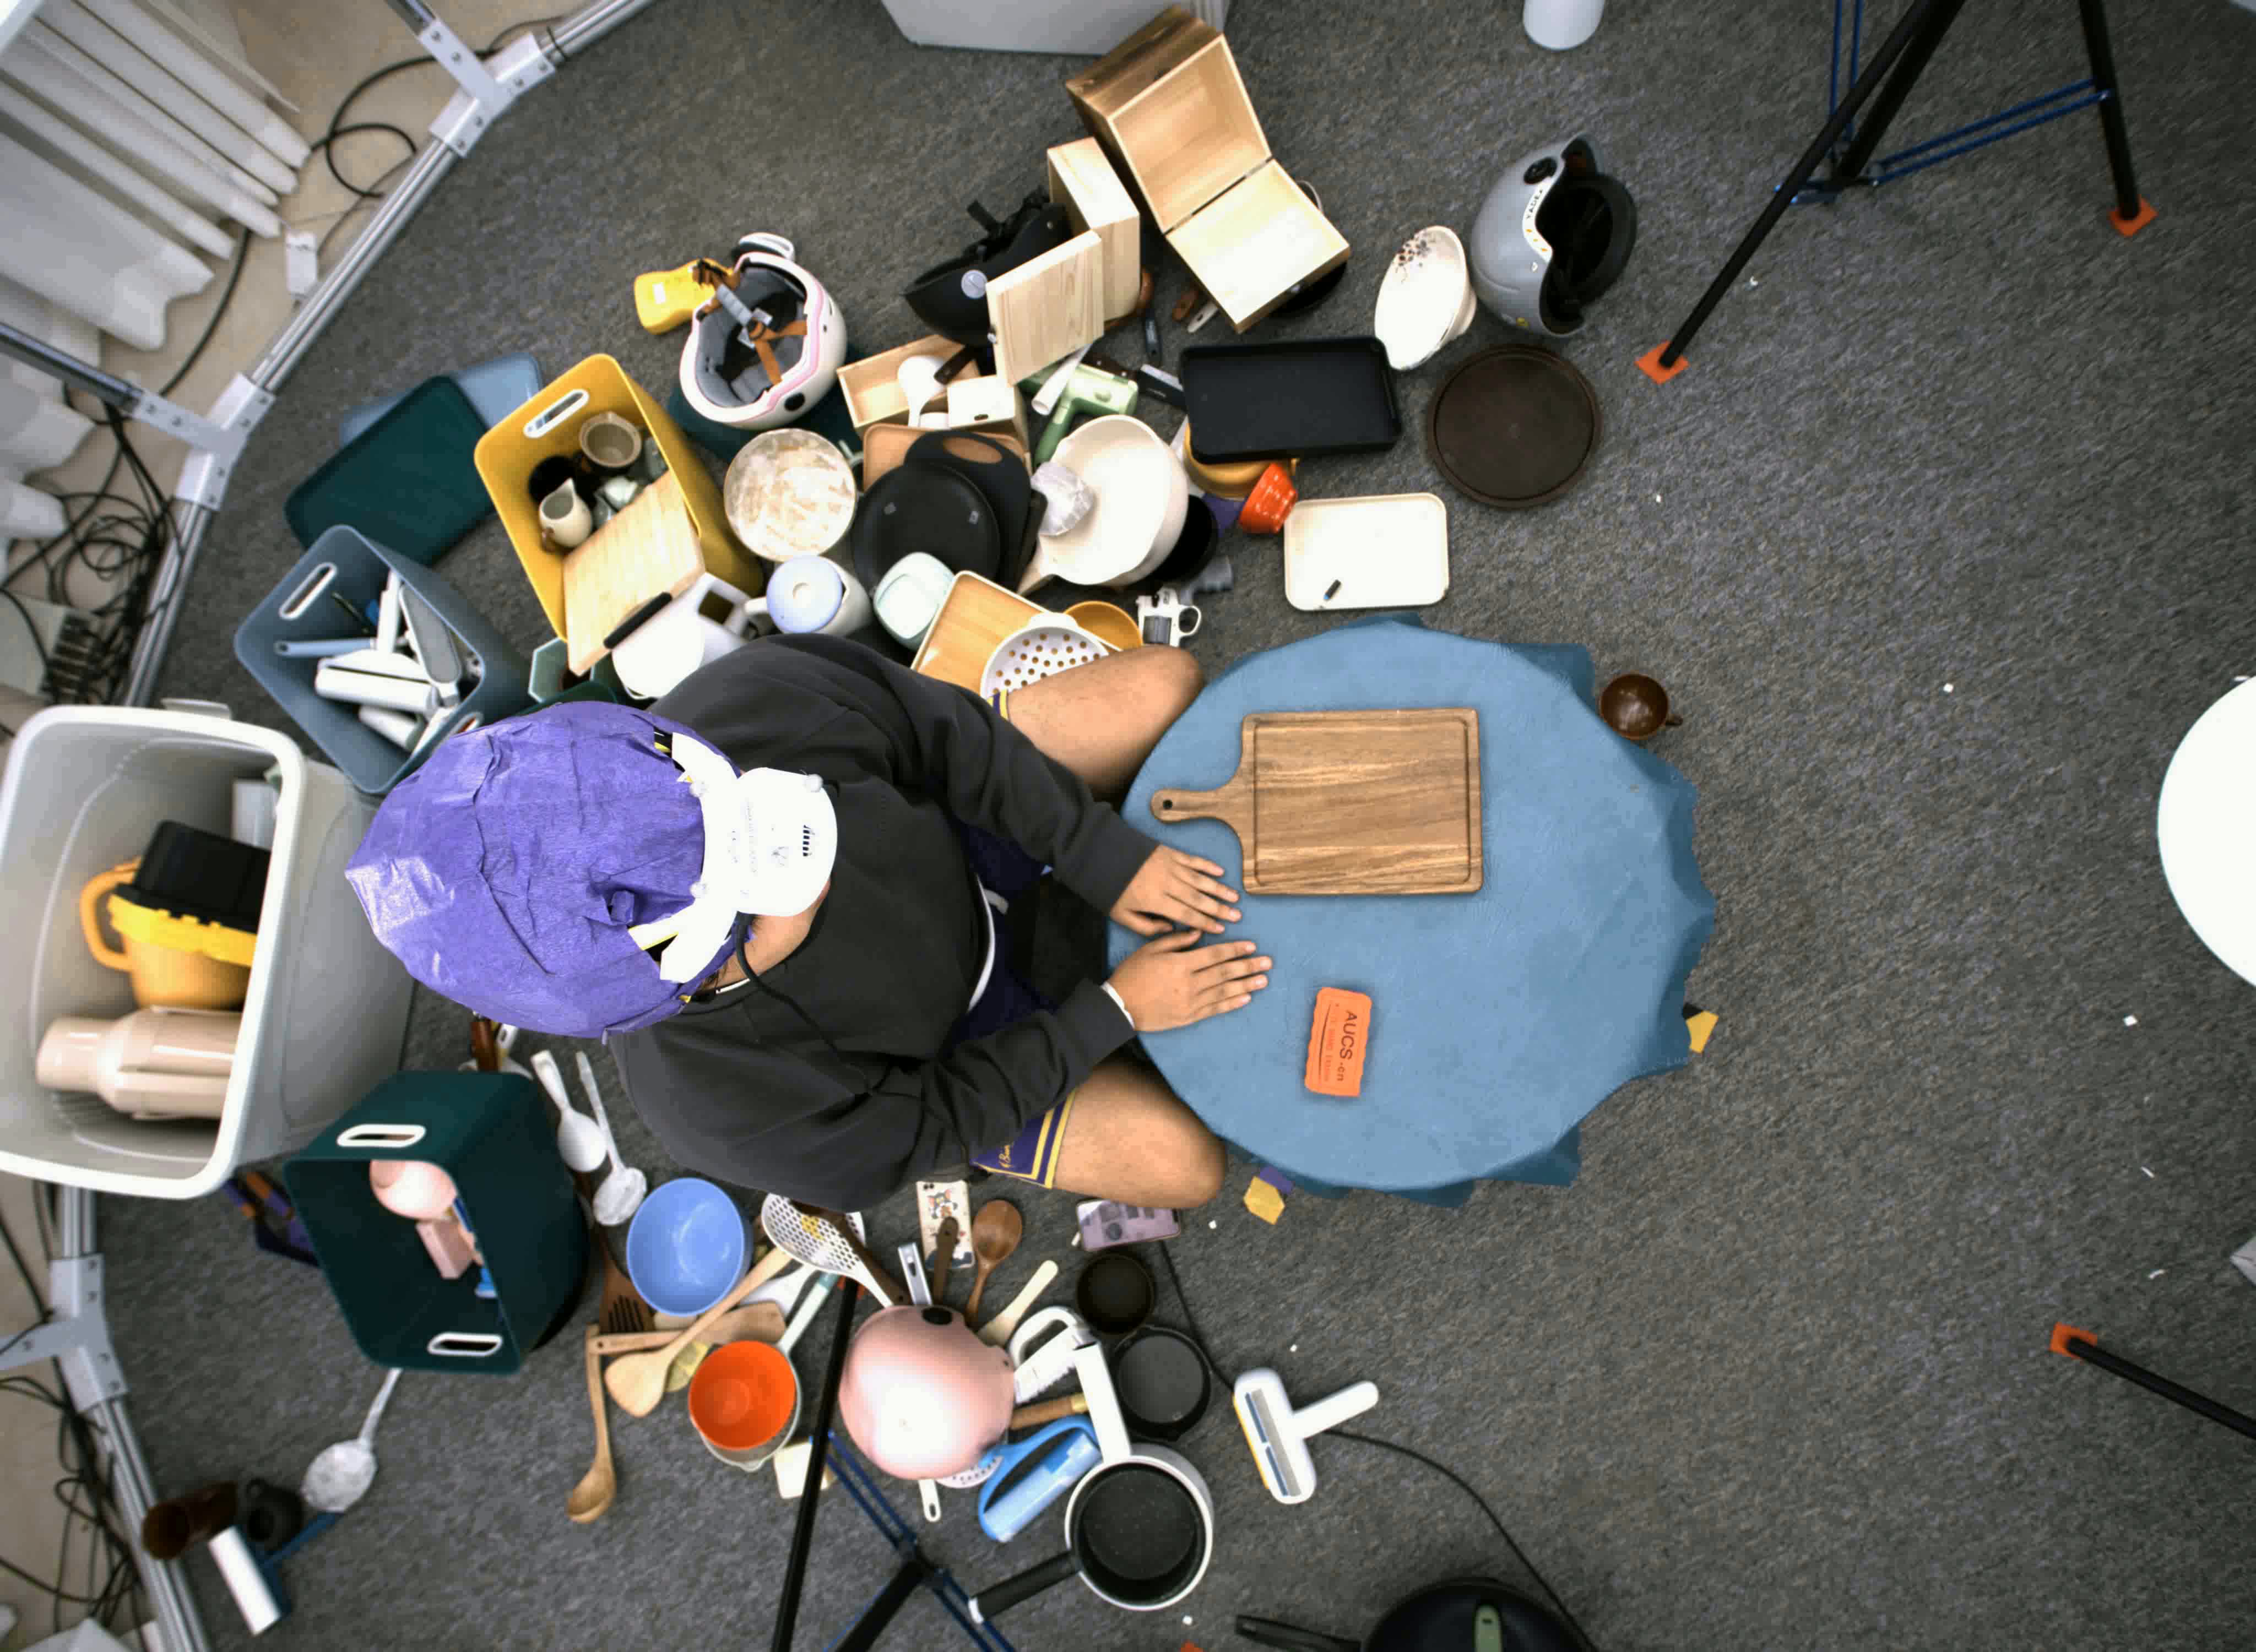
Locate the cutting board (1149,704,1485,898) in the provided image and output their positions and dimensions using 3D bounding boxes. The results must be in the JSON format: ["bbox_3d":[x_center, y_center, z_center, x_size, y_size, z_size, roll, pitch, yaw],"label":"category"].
[{"bbox_3d":[0.197,-0.025,1.468,0.353,0.023,0.200,-2,87,11],"label":"cutting board"}]

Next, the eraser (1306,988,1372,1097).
[{"bbox_3d":[0.219,0.224,1.445,0.059,0.023,0.108,8,89,10],"label":"eraser"}]
